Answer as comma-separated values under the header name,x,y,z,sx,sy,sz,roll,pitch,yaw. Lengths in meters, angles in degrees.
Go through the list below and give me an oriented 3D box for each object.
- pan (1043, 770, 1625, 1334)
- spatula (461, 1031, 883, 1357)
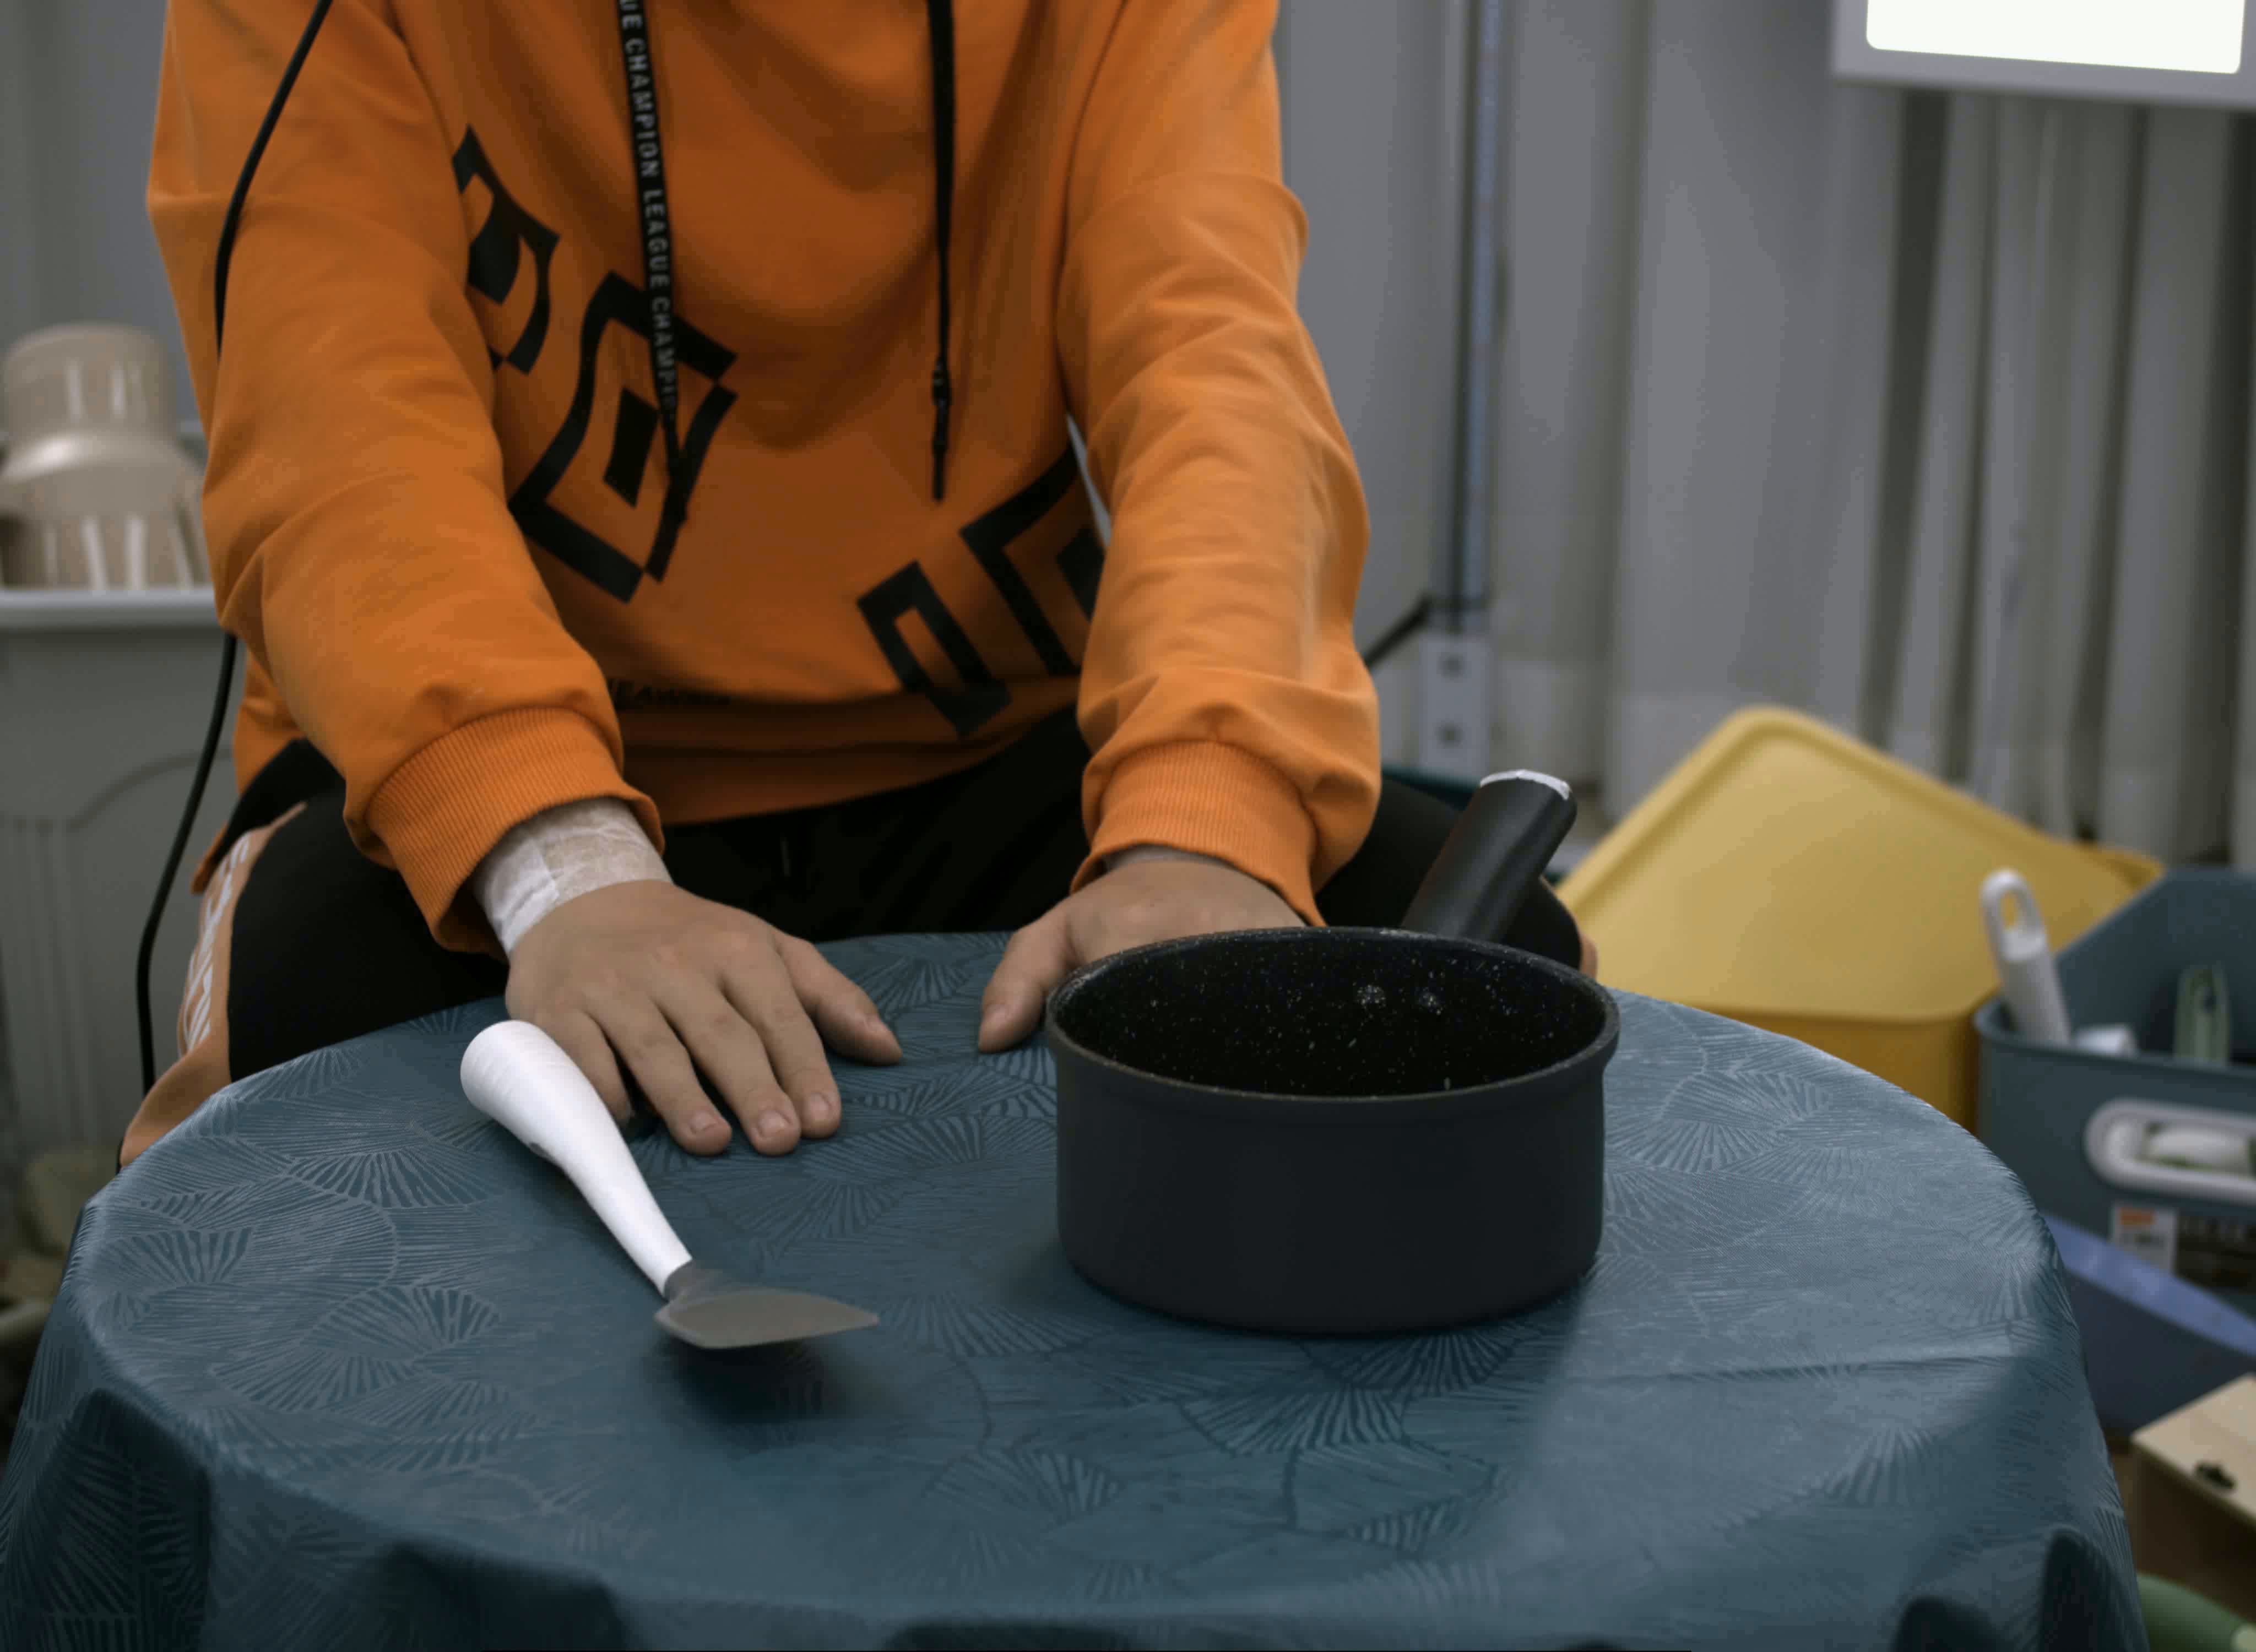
name,x,y,z,sx,sy,sz,roll,pitch,yaw
pan,0.088,0.066,1.635,0.170,0.087,0.329,7,18,19
spatula,-0.143,0.114,1.553,0.059,0.032,0.284,-3,15,-23
